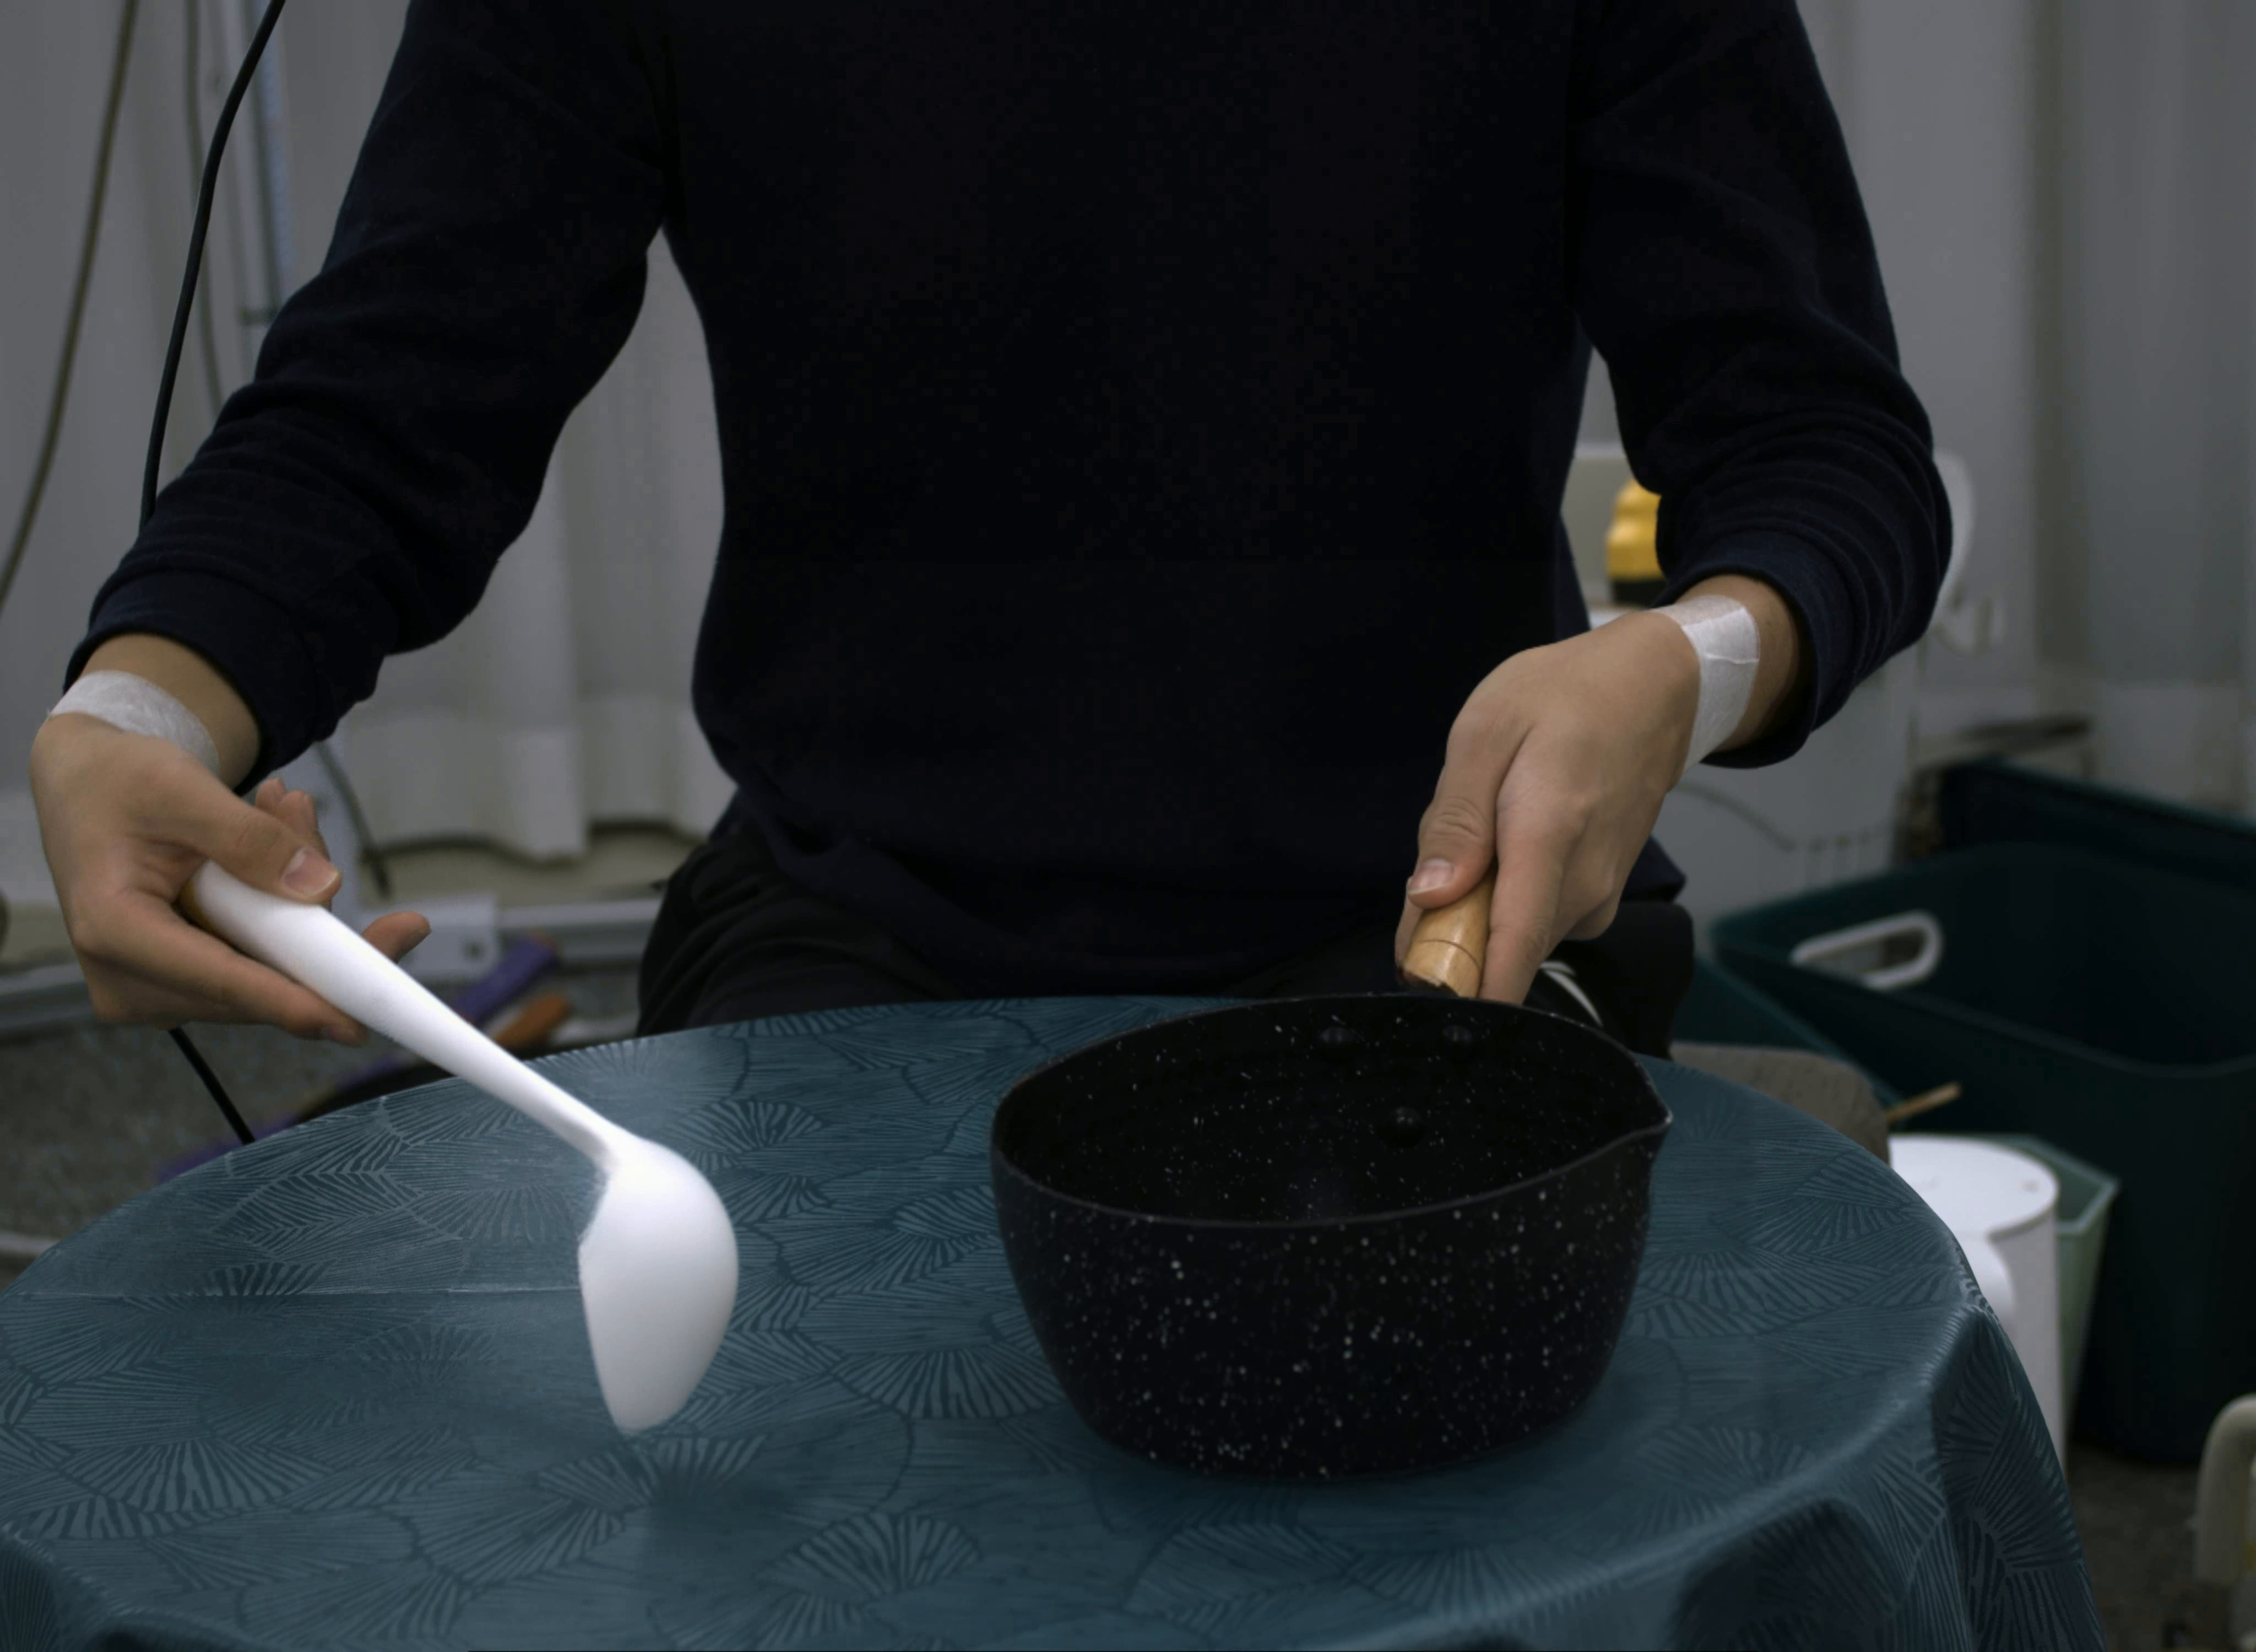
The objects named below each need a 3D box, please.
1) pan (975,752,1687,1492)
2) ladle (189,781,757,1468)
[{"bbox_3d":[0.077,0.081,1.596,0.207,0.107,0.345,-1,19,17],"label":"pan"},{"bbox_3d":[-0.198,0.075,1.561,0.070,0.089,0.296,-34,45,-21],"label":"ladle"}]
